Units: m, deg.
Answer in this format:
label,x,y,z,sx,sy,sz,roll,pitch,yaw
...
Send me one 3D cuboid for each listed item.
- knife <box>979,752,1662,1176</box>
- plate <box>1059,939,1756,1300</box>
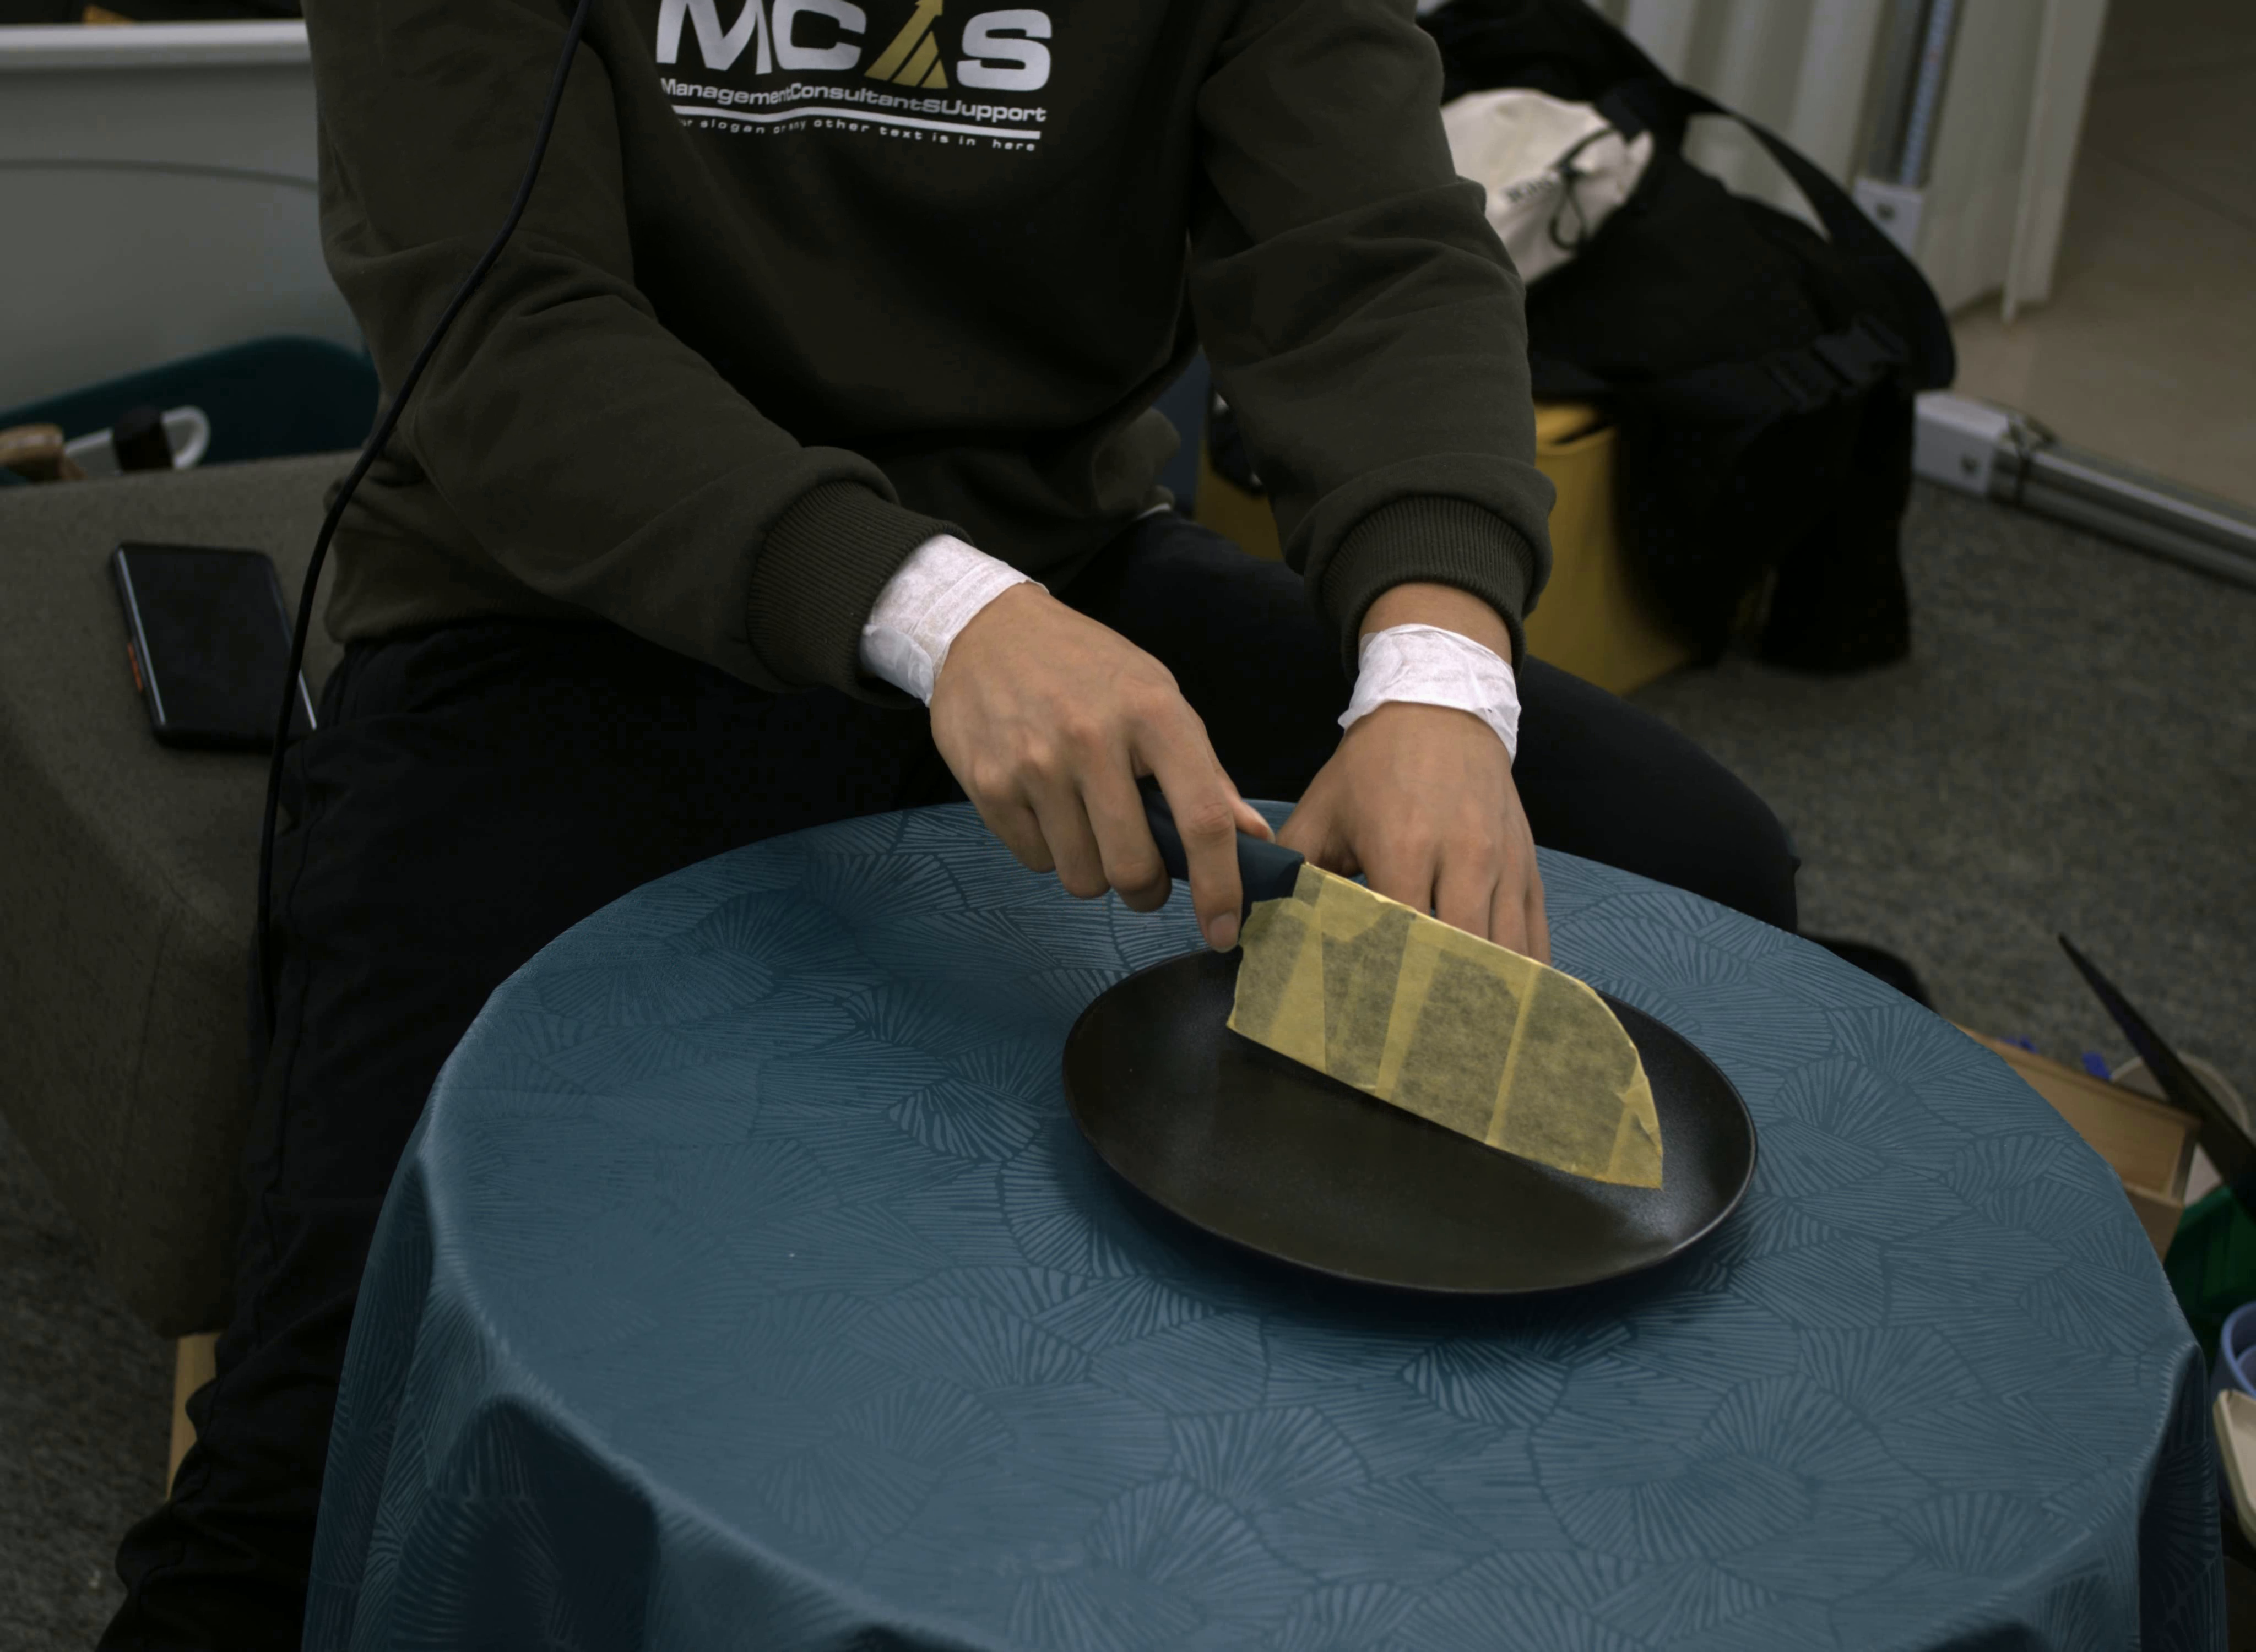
label,x,y,z,sx,sy,sz,roll,pitch,yaw
knife,0.064,0.047,1.860,0.291,0.081,0.027,27,25,26
plate,0.095,0.104,1.840,0.243,0.023,0.246,5,27,-3
